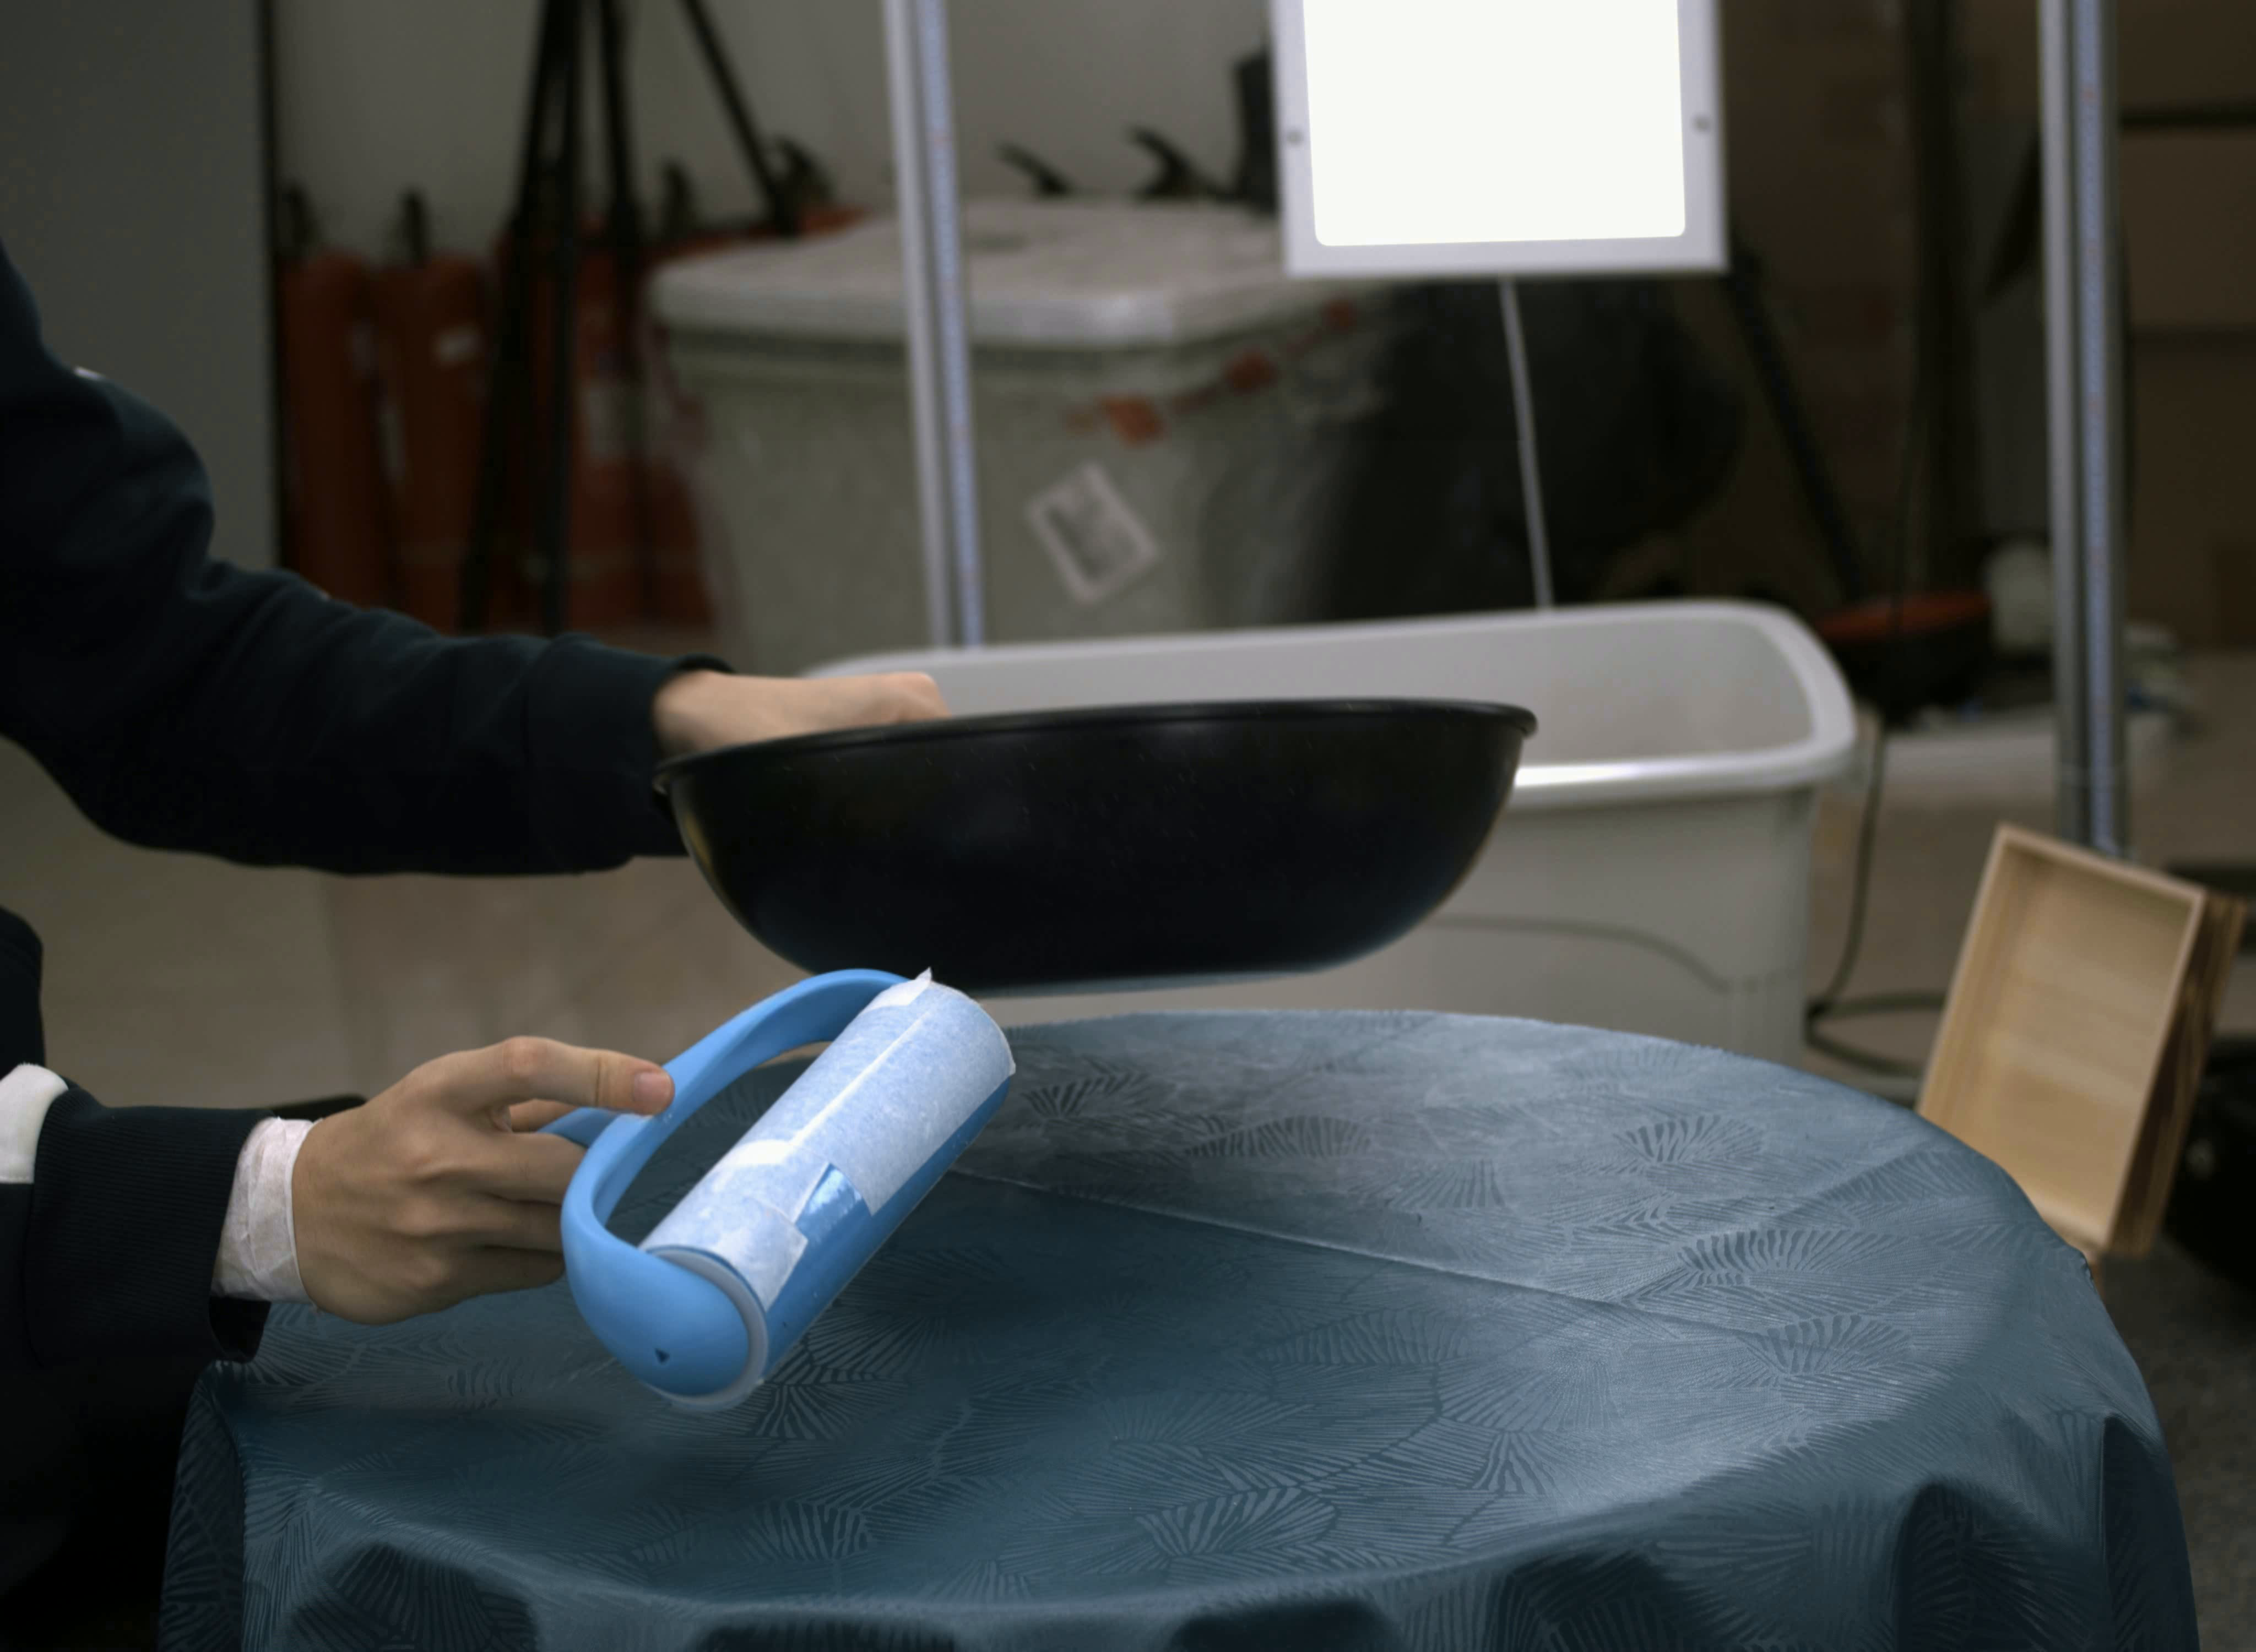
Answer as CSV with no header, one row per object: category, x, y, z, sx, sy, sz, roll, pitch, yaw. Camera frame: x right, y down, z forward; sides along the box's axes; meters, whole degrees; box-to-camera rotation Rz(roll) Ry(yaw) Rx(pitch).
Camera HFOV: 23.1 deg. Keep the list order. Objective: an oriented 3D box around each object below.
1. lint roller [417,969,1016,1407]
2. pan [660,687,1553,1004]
lint roller,-0.146,0.114,1.696,0.183,0.068,0.225,-7,21,21
pan,-0.043,0.009,1.976,0.304,0.112,0.485,0,-5,-25
